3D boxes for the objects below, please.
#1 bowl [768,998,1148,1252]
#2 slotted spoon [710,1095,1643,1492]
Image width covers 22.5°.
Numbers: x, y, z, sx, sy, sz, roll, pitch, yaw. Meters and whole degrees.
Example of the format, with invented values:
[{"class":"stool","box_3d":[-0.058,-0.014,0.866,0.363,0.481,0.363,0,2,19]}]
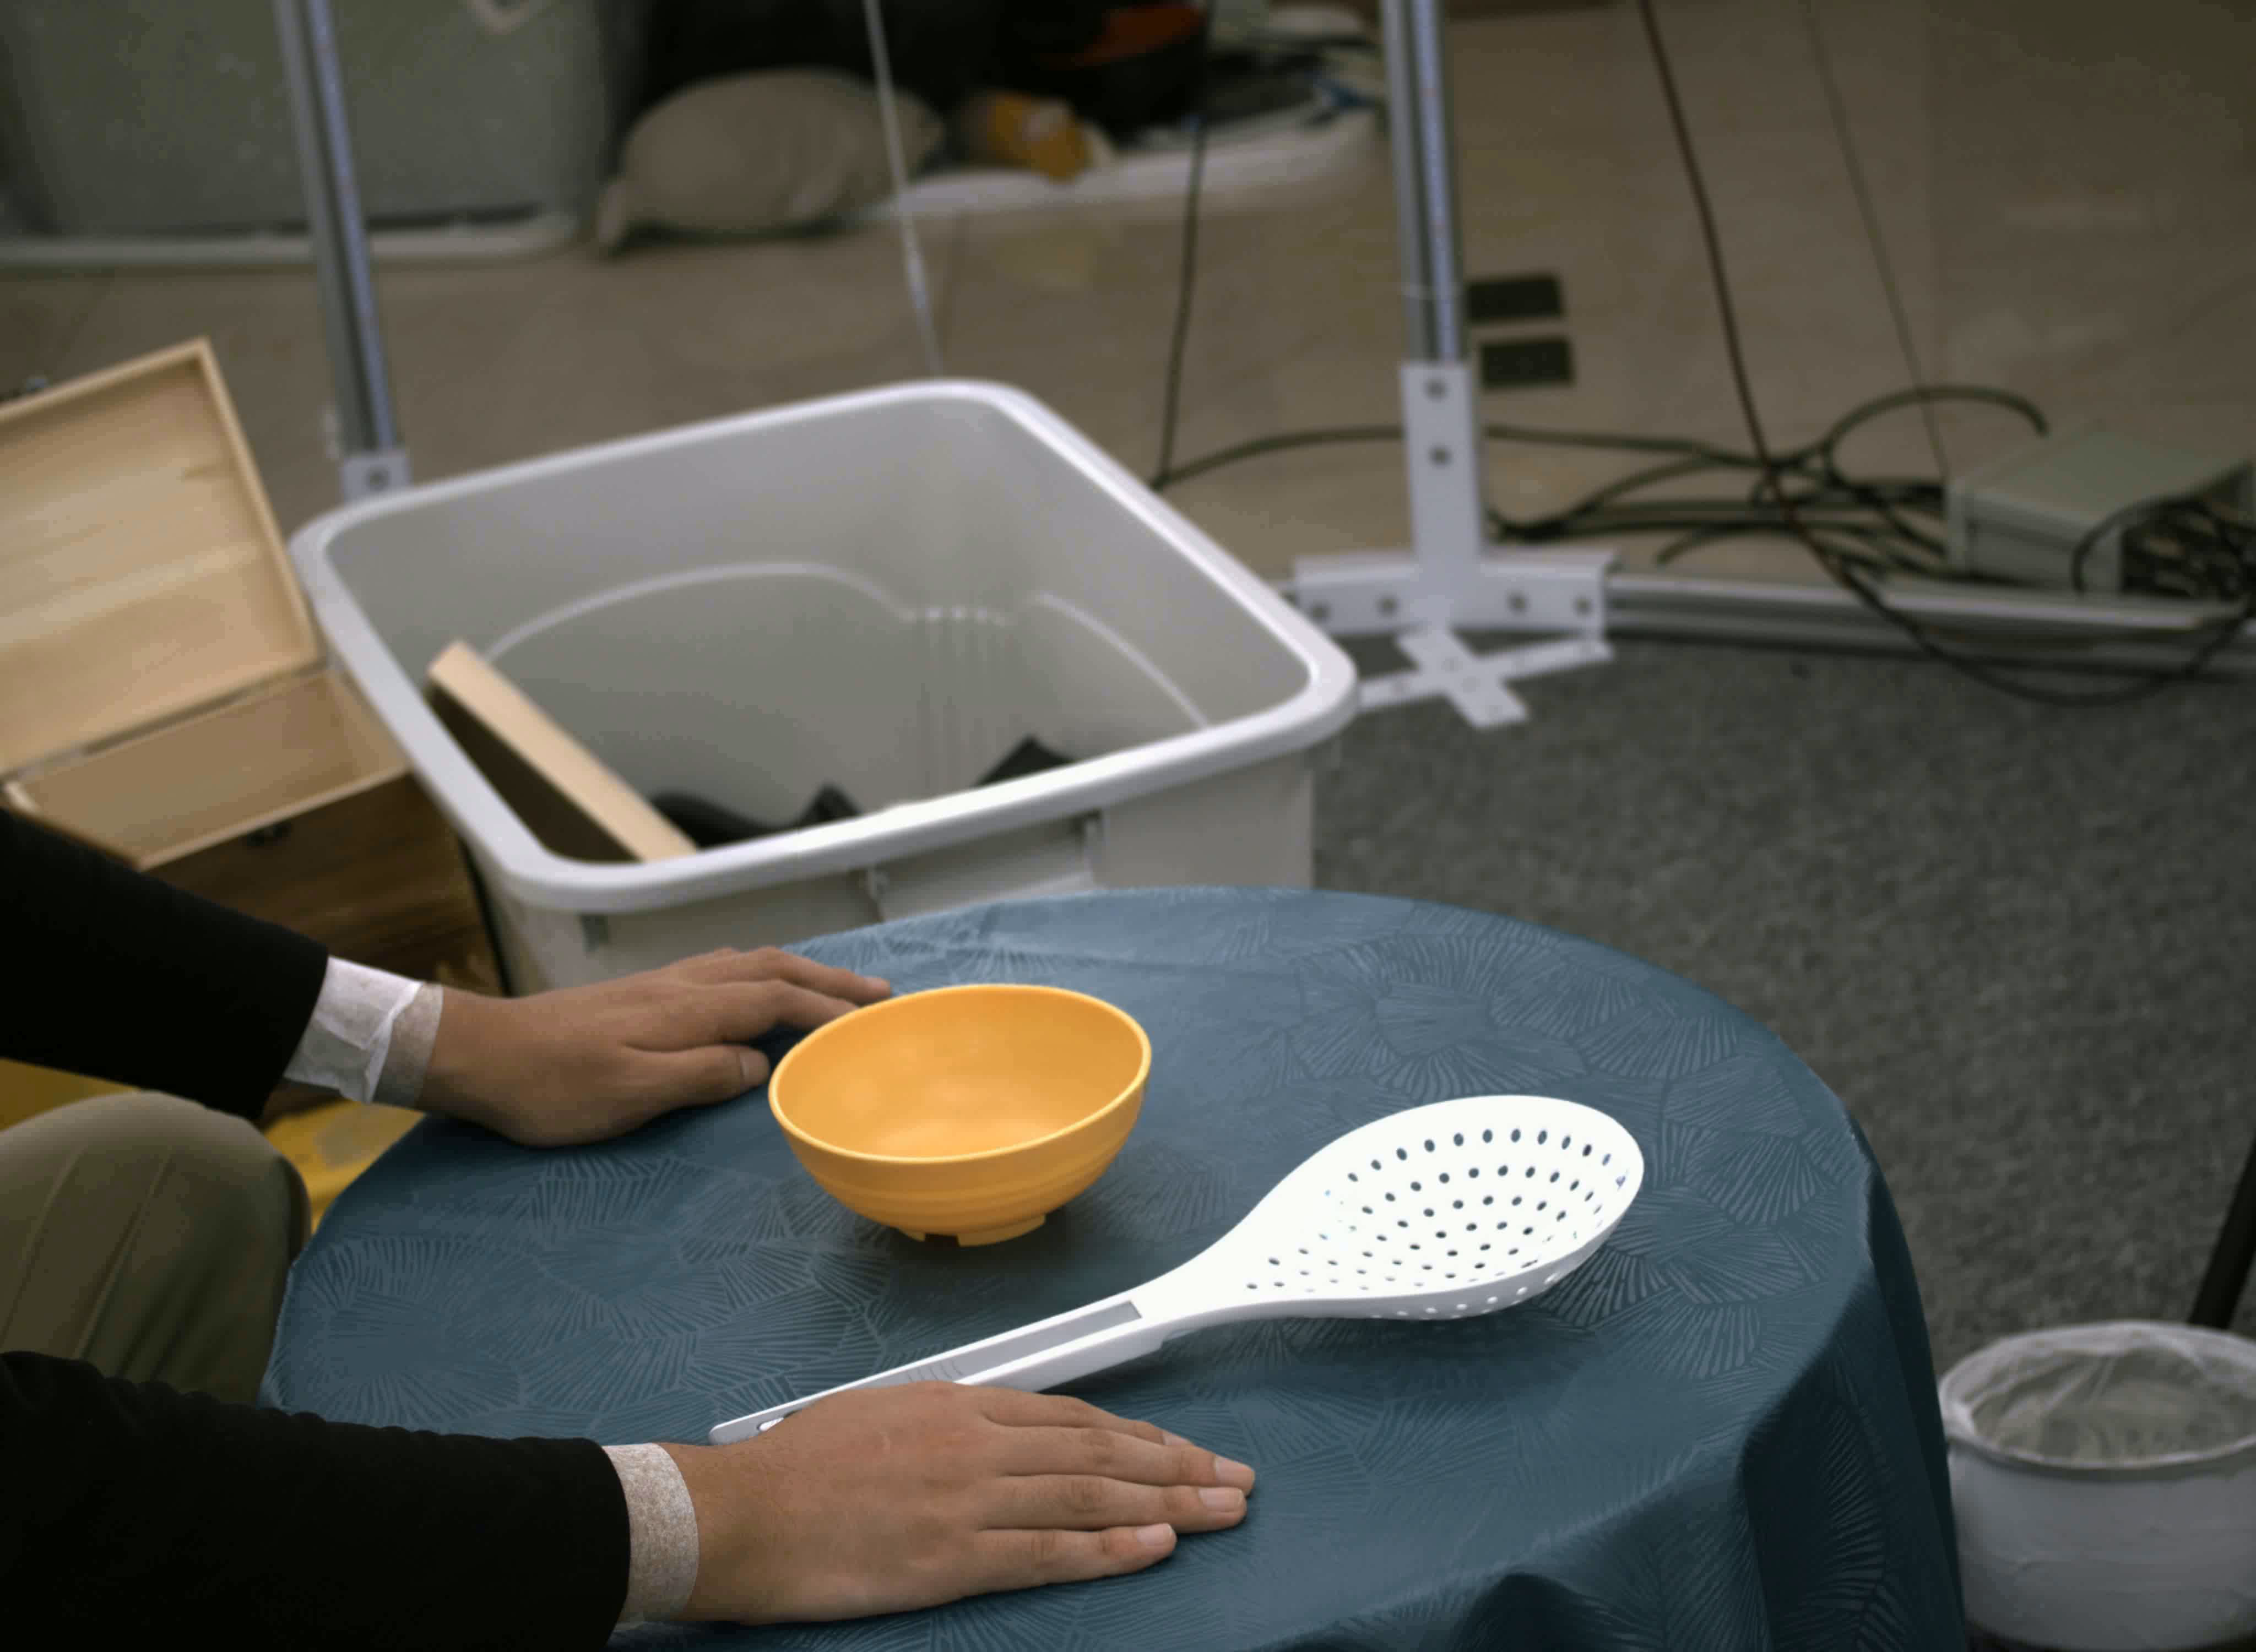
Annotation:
[{"class":"bowl","box_3d":[-0.061,0.120,2.138,0.145,0.061,0.143,-5,23,2]},{"class":"slotted spoon","box_3d":[0.019,0.171,2.020,0.348,0.046,0.134,-14,25,-14]}]
